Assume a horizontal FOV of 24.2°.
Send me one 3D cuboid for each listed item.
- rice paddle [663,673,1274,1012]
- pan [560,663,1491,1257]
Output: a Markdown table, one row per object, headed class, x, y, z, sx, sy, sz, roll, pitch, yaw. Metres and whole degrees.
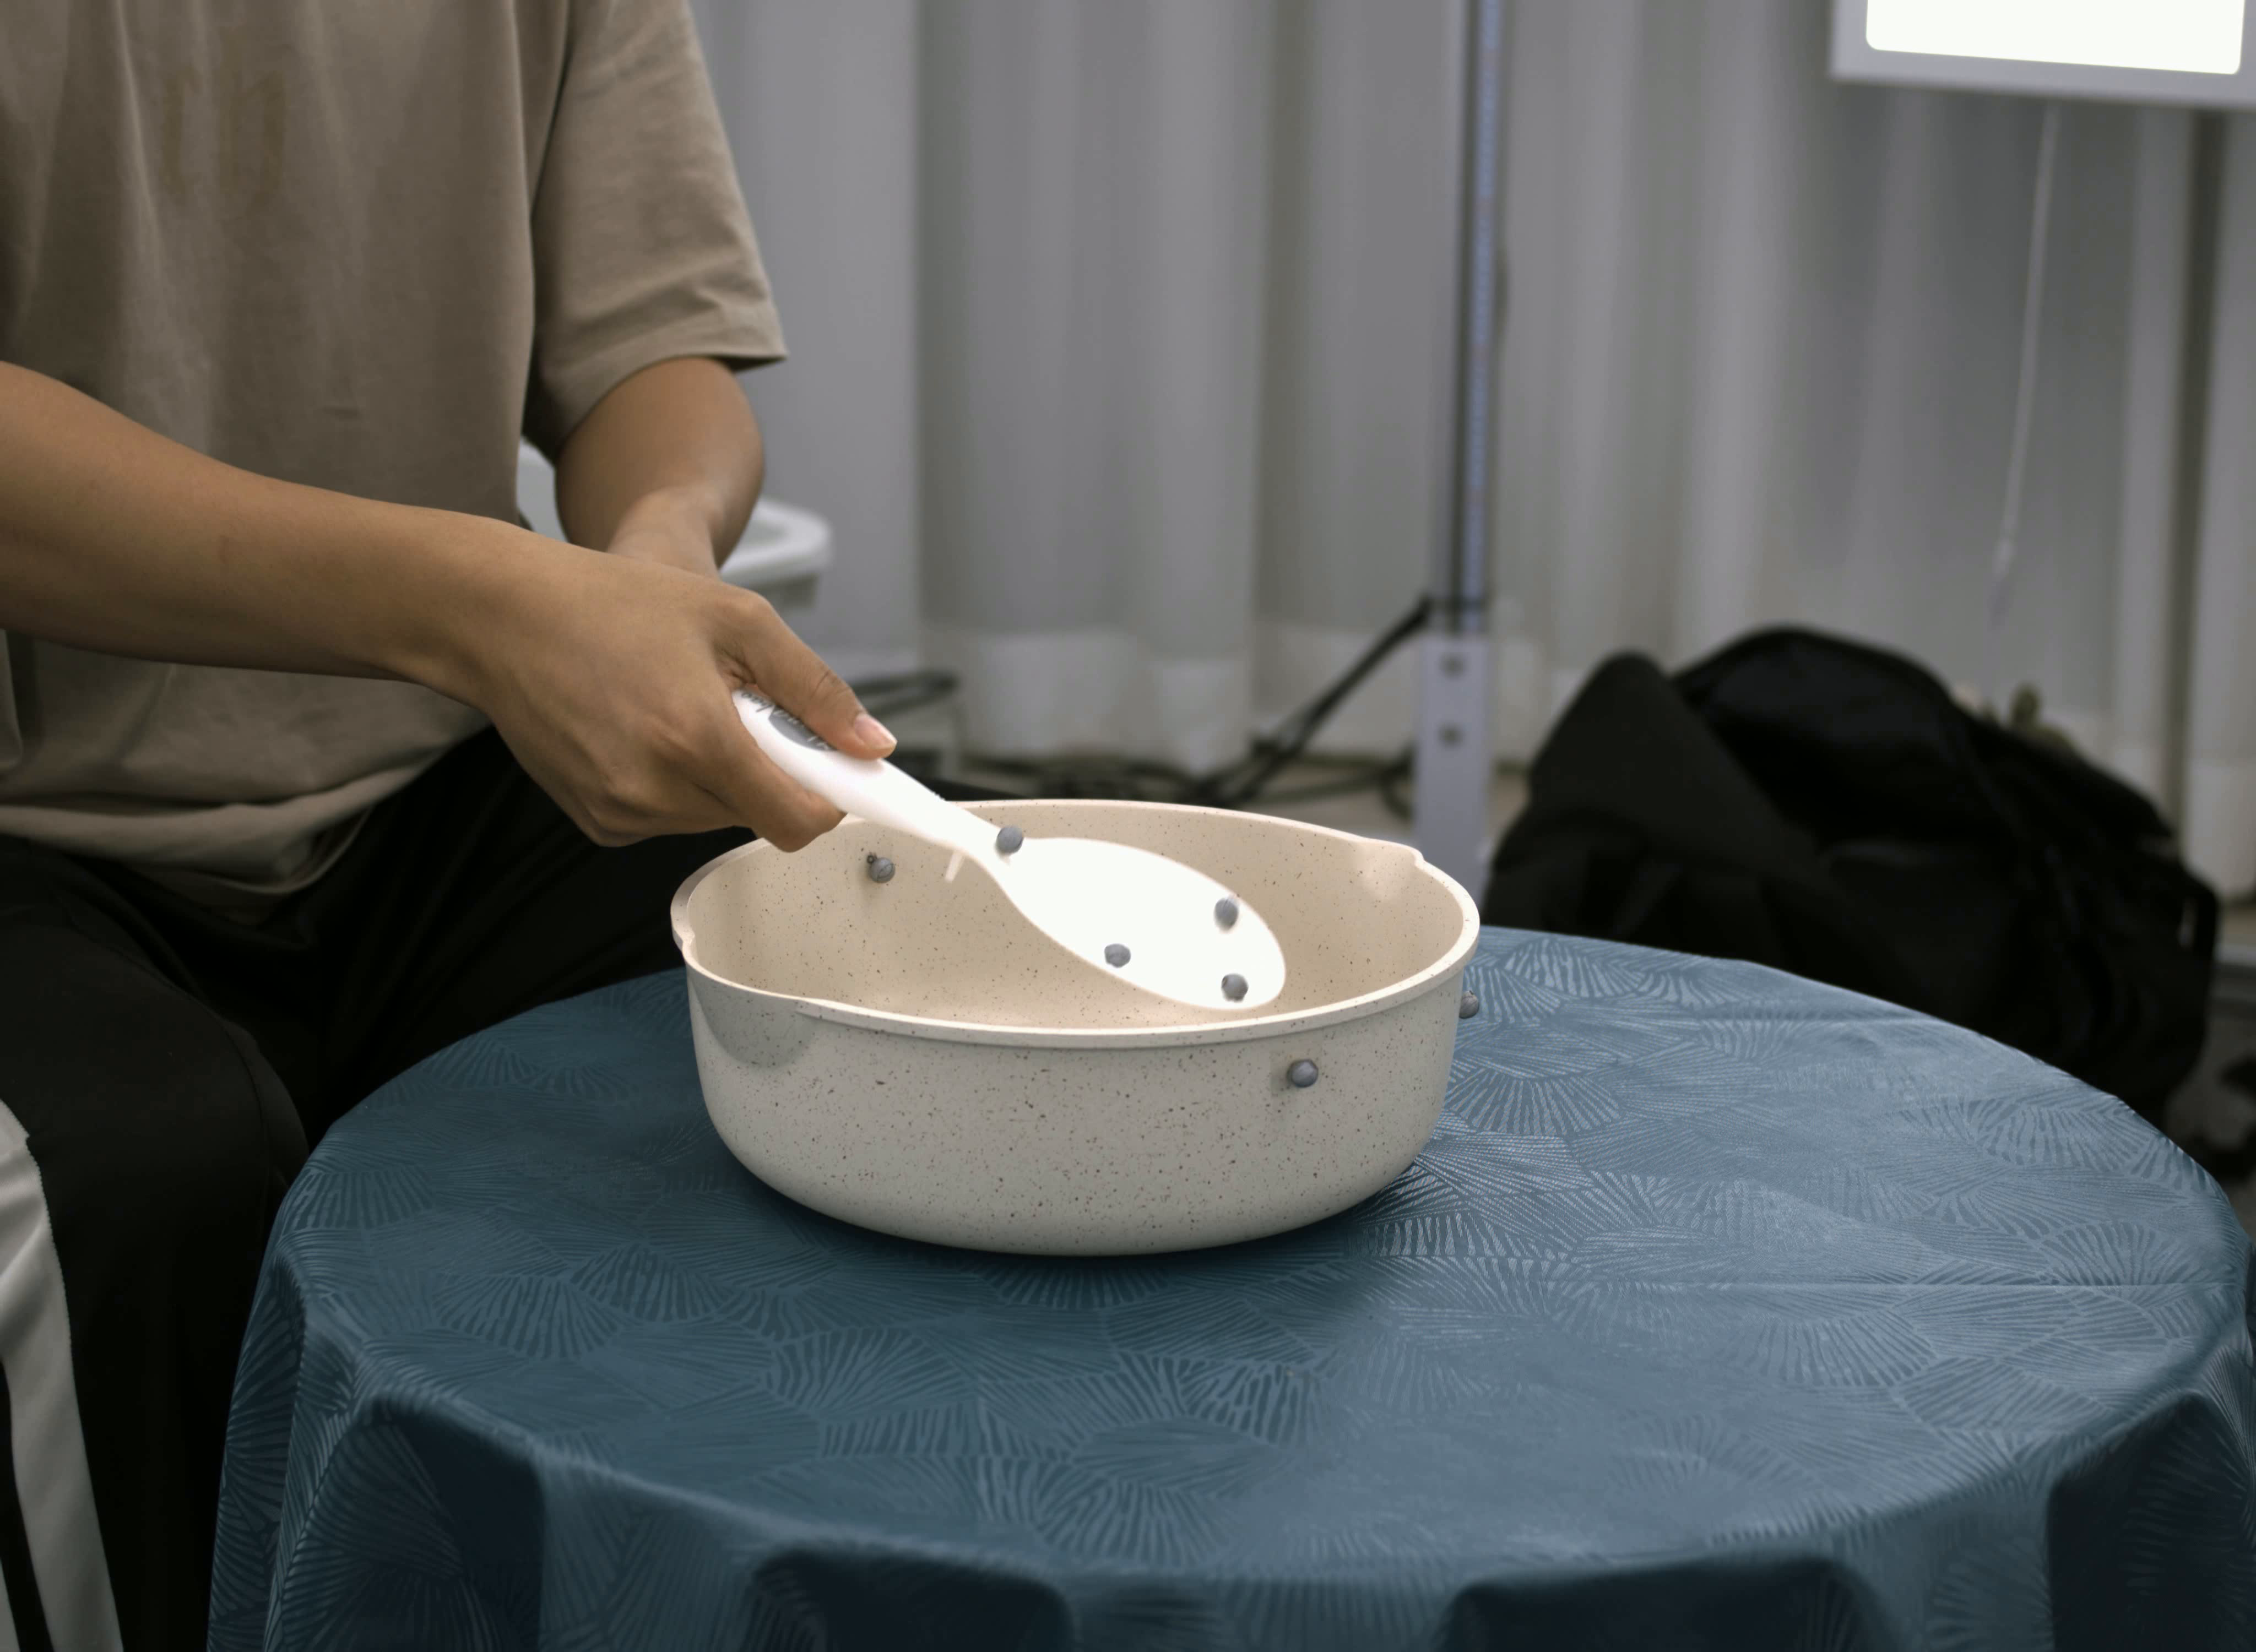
| class | x | y | z | sx | sy | sz | roll | pitch | yaw |
| --- | --- | --- | --- | --- | --- | --- | --- | --- | --- |
| rice paddle | -0.046 | 0.007 | 1.646 | 0.205 | 0.029 | 0.068 | 25 | 33 | 0 |
| pan | -0.064 | 0.037 | 1.715 | 0.264 | 0.103 | 0.429 | -13 | 20 | -33 |
